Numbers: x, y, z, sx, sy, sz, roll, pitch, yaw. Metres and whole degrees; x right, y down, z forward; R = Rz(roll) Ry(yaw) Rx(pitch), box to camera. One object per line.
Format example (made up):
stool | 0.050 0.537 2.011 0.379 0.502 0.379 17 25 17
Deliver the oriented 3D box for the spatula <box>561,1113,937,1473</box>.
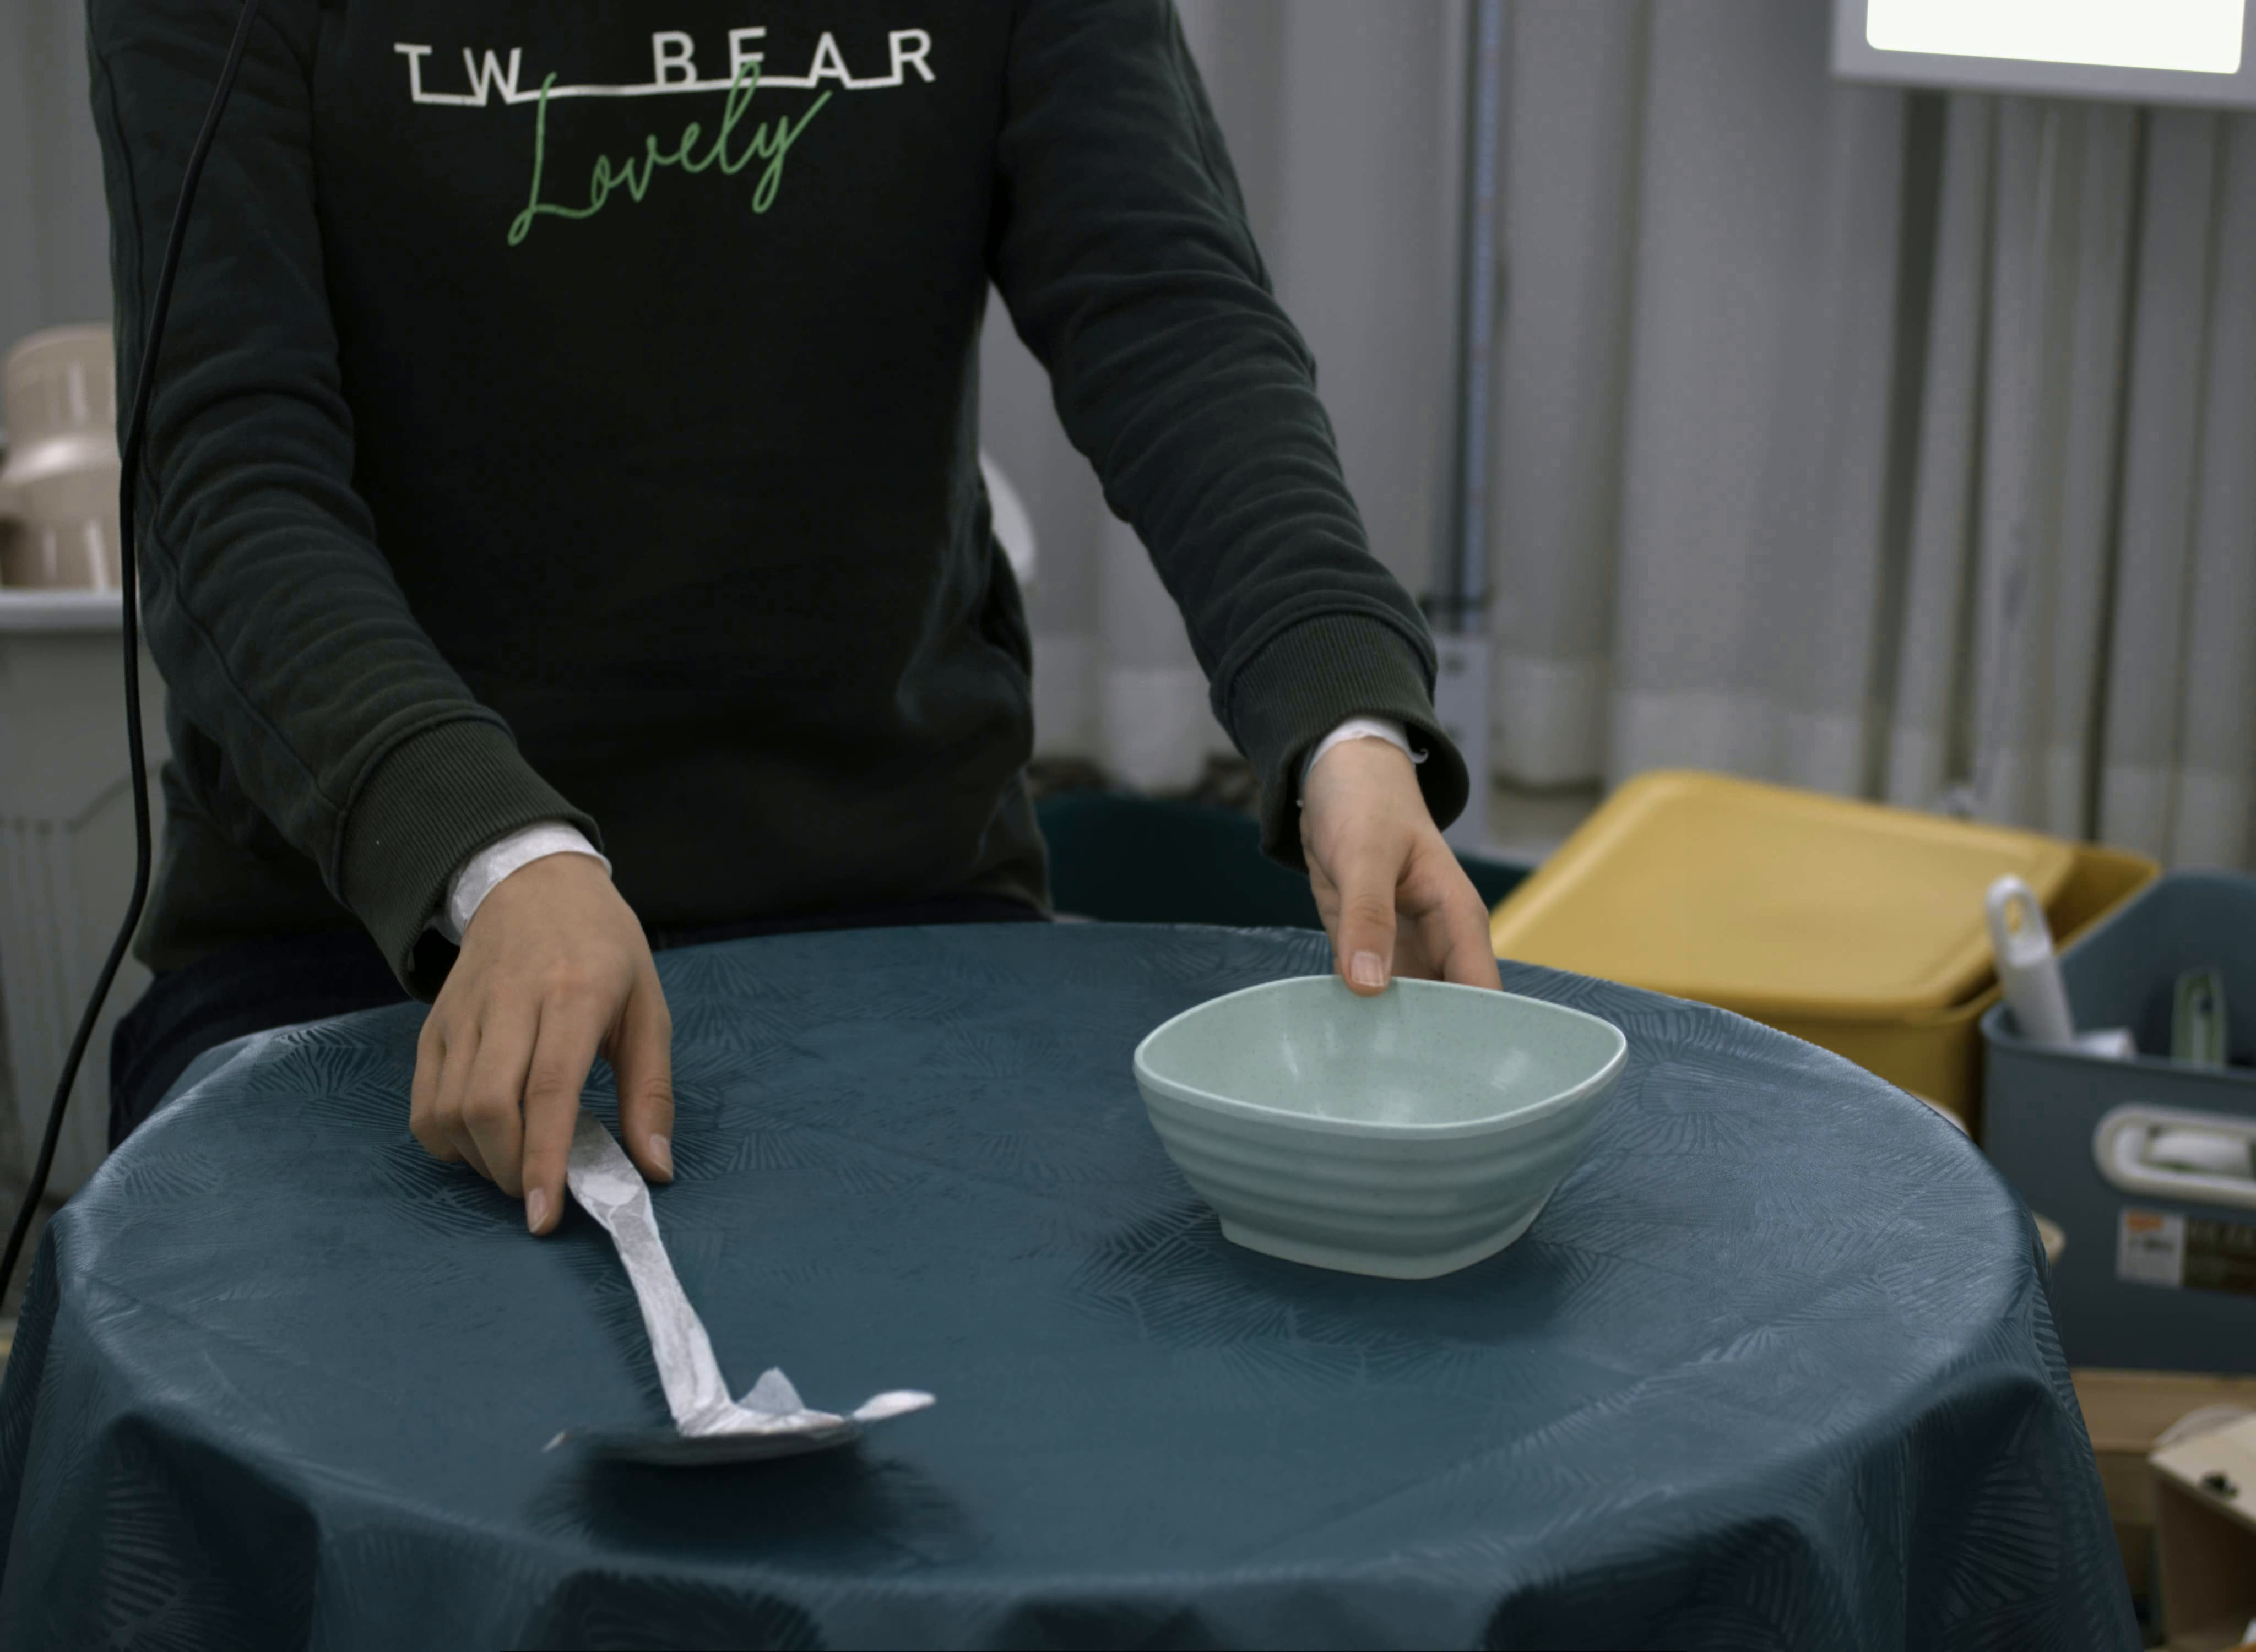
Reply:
spatula | -0.133 0.124 1.508 0.099 0.045 0.361 -5 17 -13

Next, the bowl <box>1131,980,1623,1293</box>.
bowl | 0.074 0.097 1.592 0.151 0.059 0.150 2 16 0
